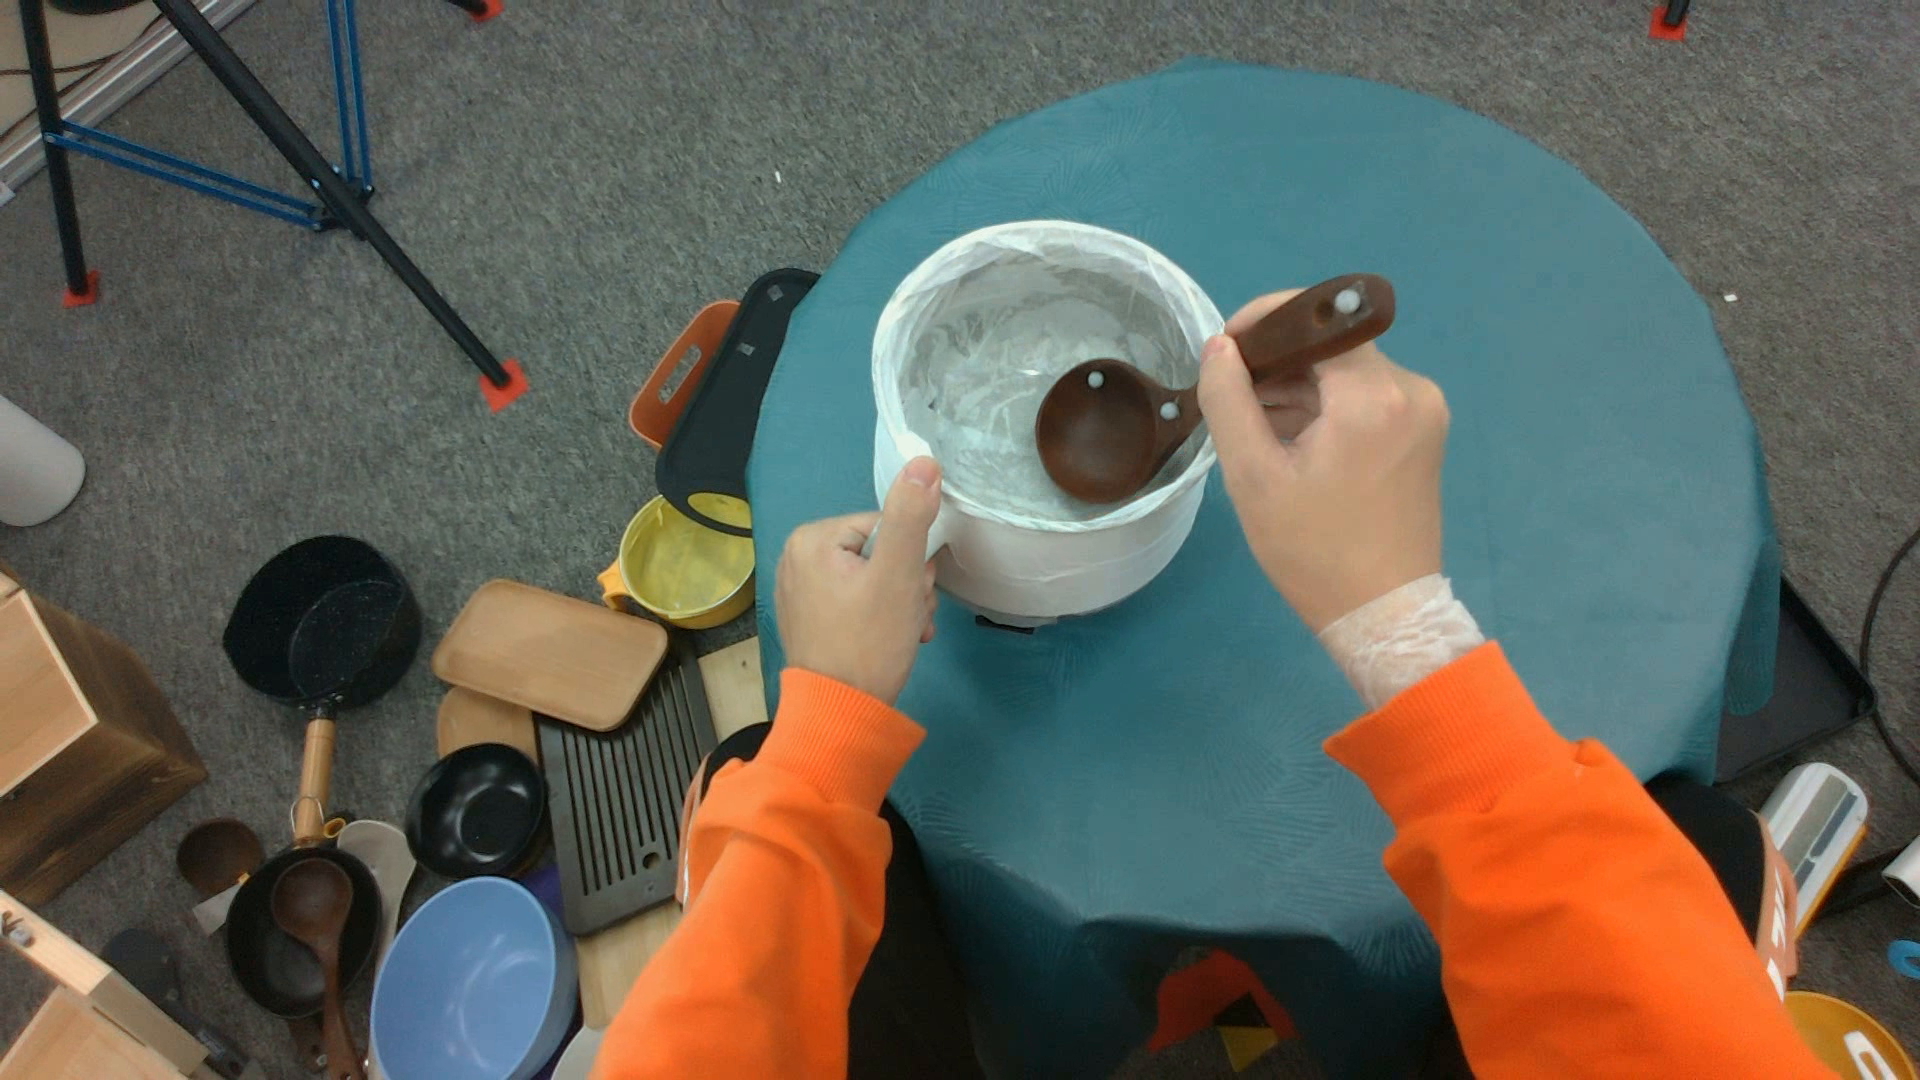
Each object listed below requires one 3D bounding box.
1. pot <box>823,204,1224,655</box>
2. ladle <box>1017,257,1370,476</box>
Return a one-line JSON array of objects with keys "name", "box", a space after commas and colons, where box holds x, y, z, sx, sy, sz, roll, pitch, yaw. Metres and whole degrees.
[{"name": "pot", "box": [0.018, -0.044, 0.703, 0.179, 0.136, 0.234, 36, 67, 15]}, {"name": "ladle", "box": [0.087, -0.077, 0.603, 0.065, 0.260, 0.076, -12, 89, -13]}]
